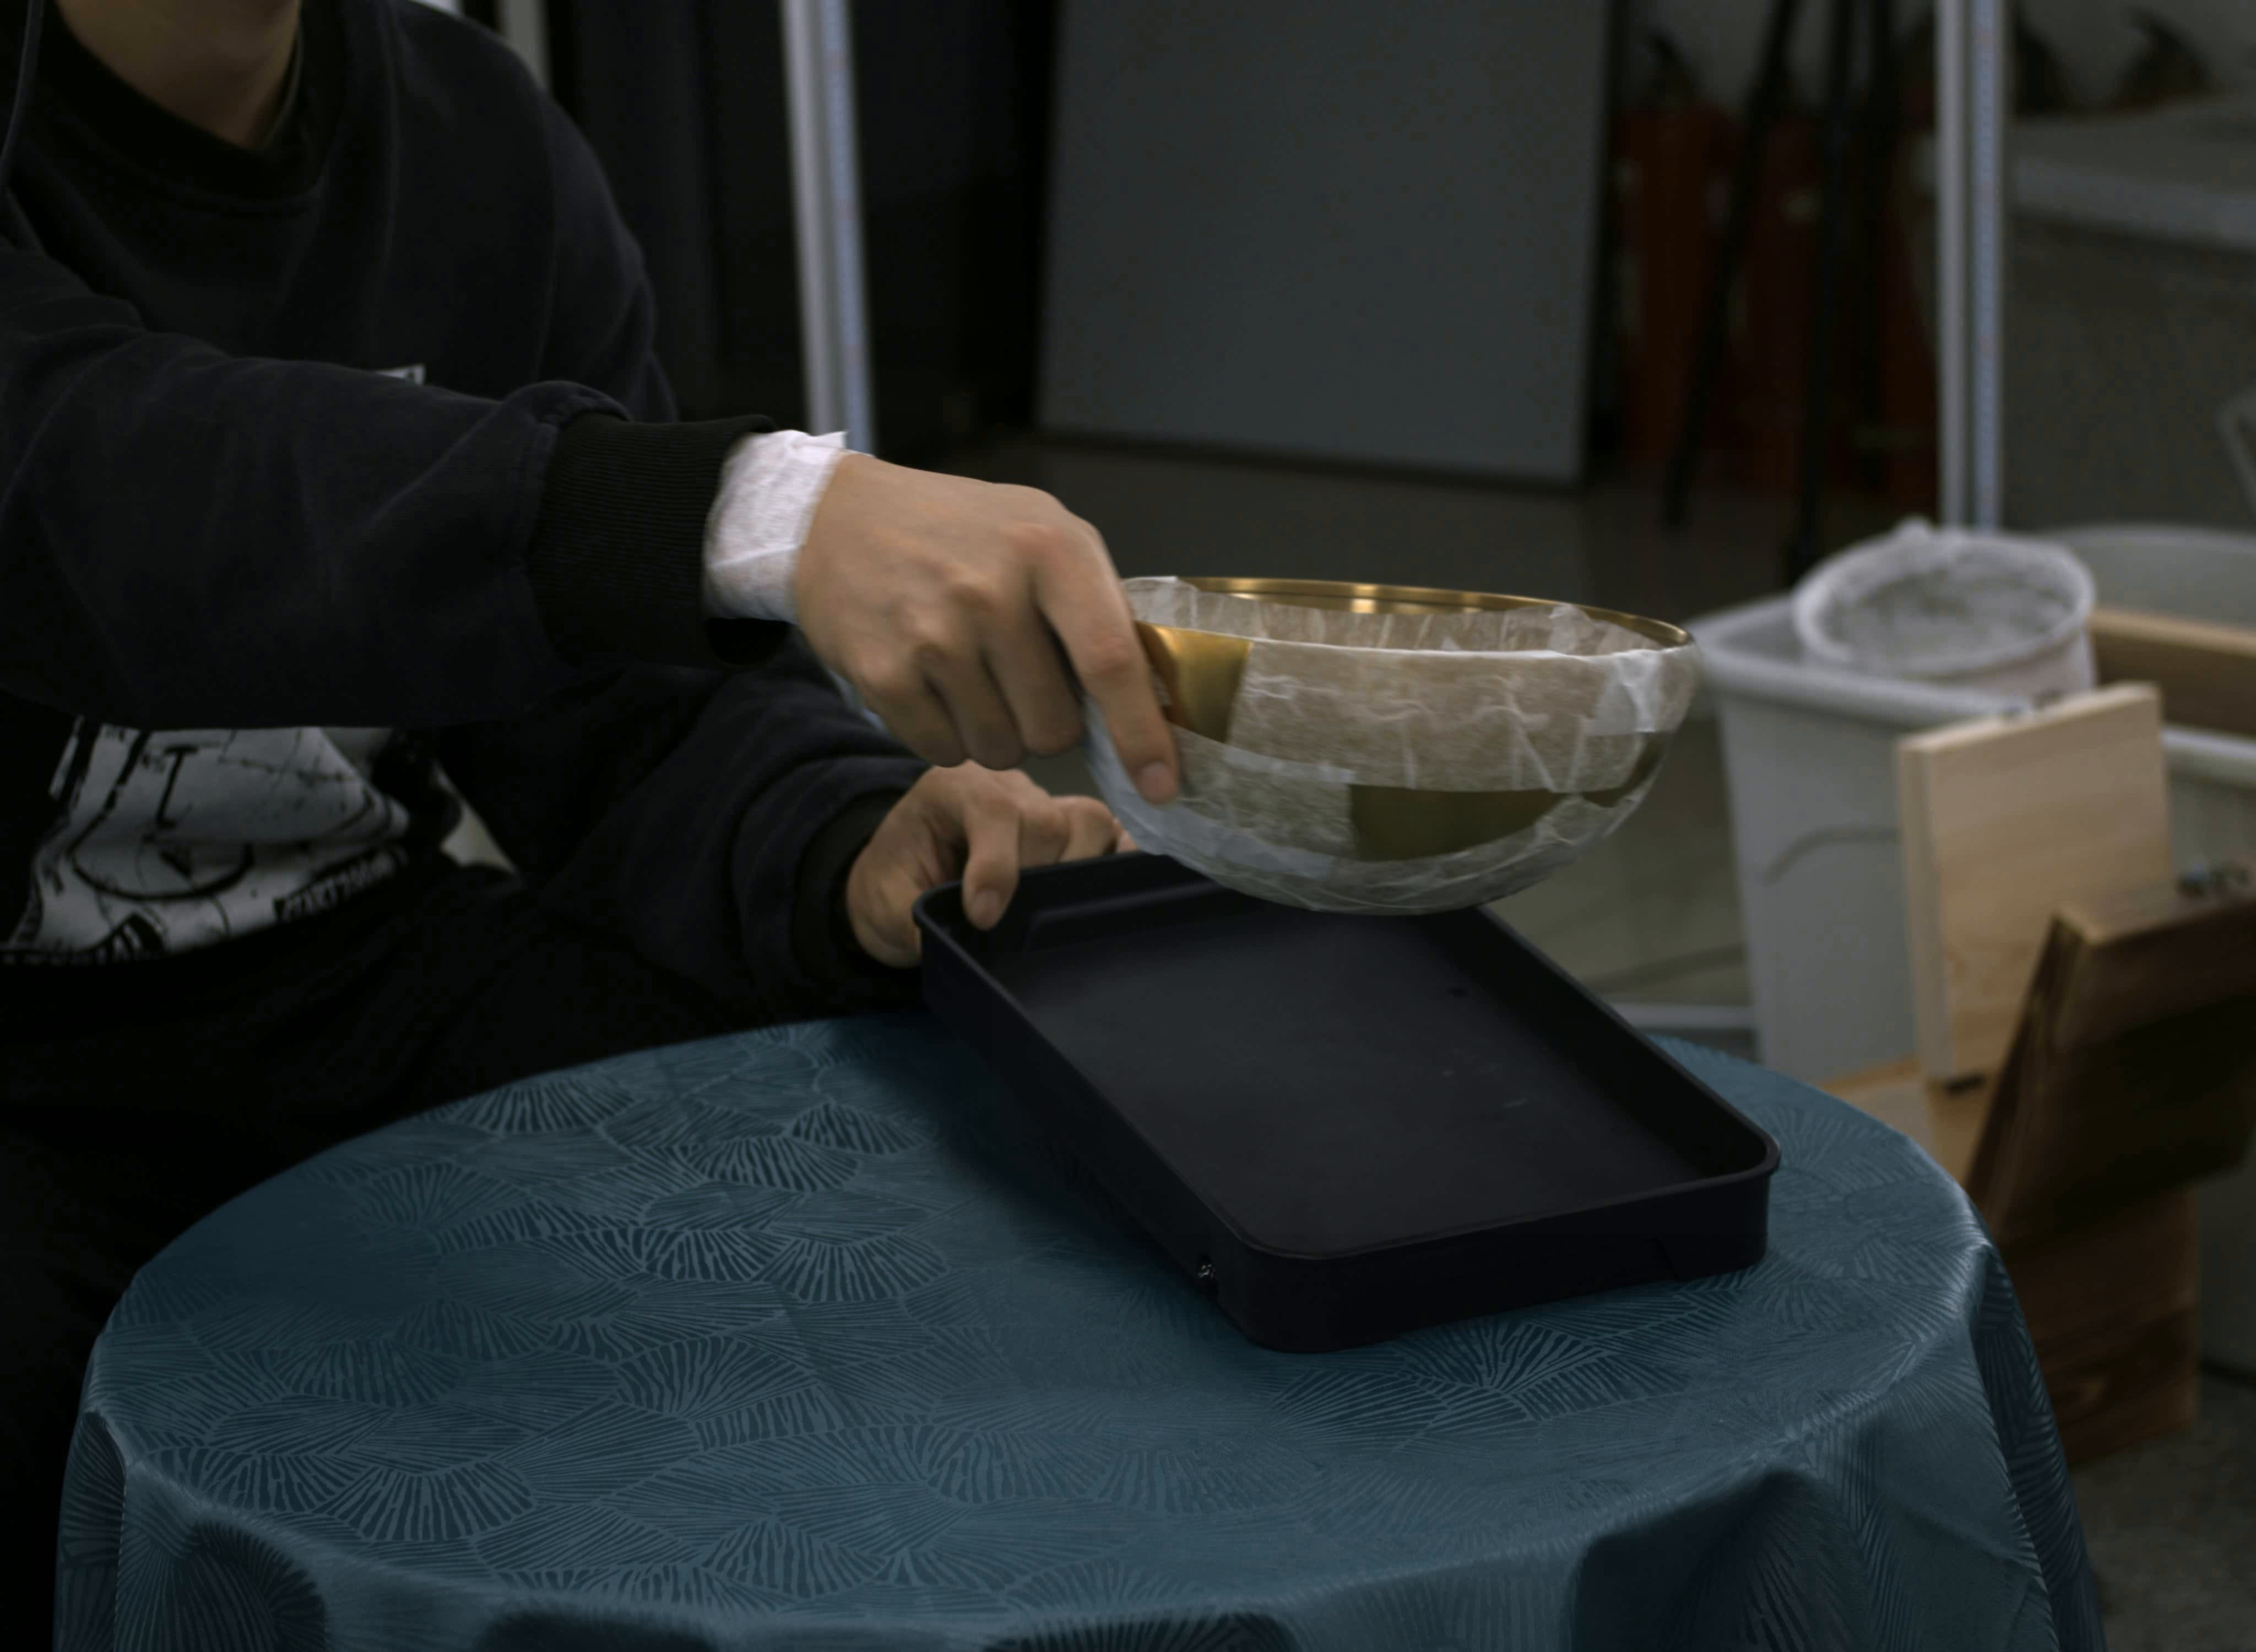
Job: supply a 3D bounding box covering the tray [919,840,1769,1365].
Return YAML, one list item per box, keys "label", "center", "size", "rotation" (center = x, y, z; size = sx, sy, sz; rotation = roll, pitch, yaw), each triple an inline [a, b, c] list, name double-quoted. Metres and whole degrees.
- label: "tray"
  center: [0.063, 0.080, 1.760]
  size: [0.180, 0.037, 0.321]
  rotation: [-8, 24, -19]

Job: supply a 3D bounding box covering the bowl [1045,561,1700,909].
- label: "bowl"
  center: [0.074, -0.025, 1.662]
  size: [0.212, 0.096, 0.215]
  rotation: [2, 8, -1]
